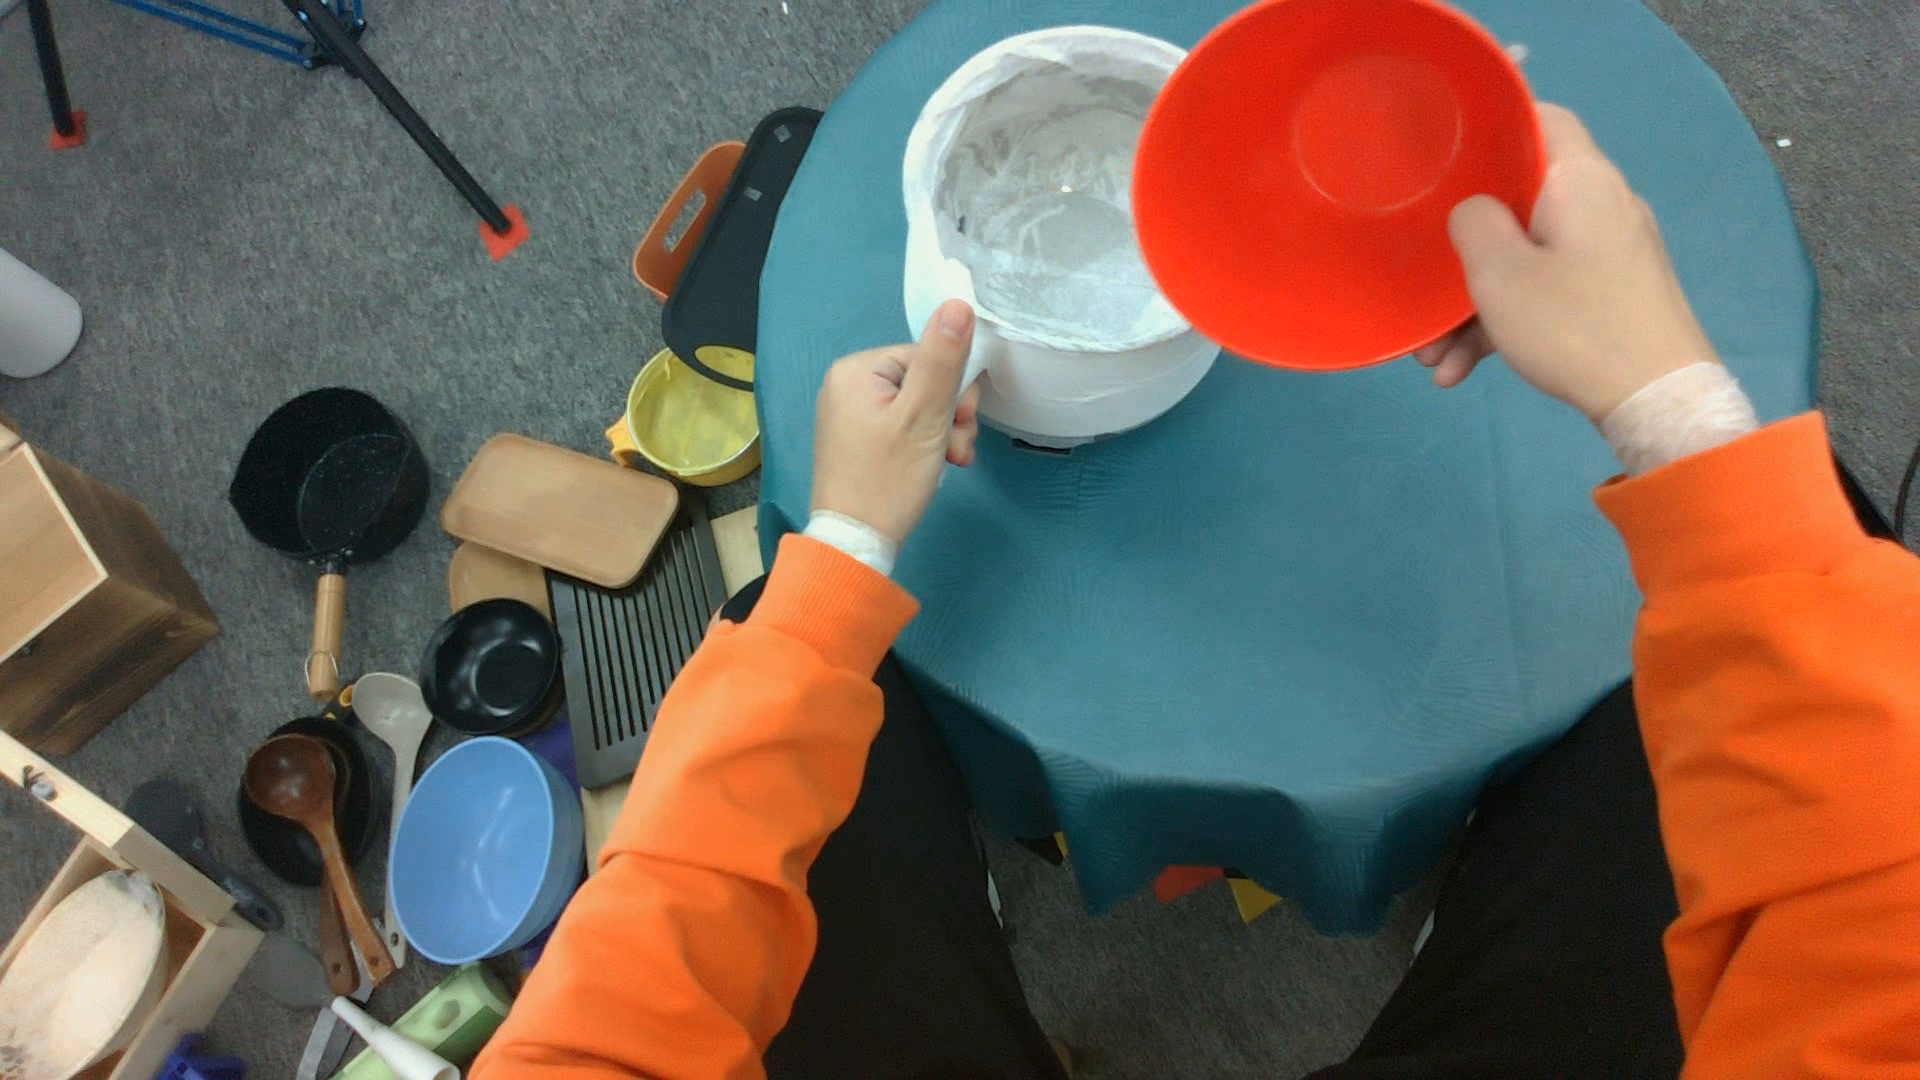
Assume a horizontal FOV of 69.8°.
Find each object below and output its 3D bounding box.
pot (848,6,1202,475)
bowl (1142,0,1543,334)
[{"bbox_3d":[0.025,-0.139,0.703,0.179,0.136,0.234,34,73,10],"label":"pot"},{"bbox_3d":[0.155,-0.165,0.559,0.148,0.105,0.147,6,115,13],"label":"bowl"}]
